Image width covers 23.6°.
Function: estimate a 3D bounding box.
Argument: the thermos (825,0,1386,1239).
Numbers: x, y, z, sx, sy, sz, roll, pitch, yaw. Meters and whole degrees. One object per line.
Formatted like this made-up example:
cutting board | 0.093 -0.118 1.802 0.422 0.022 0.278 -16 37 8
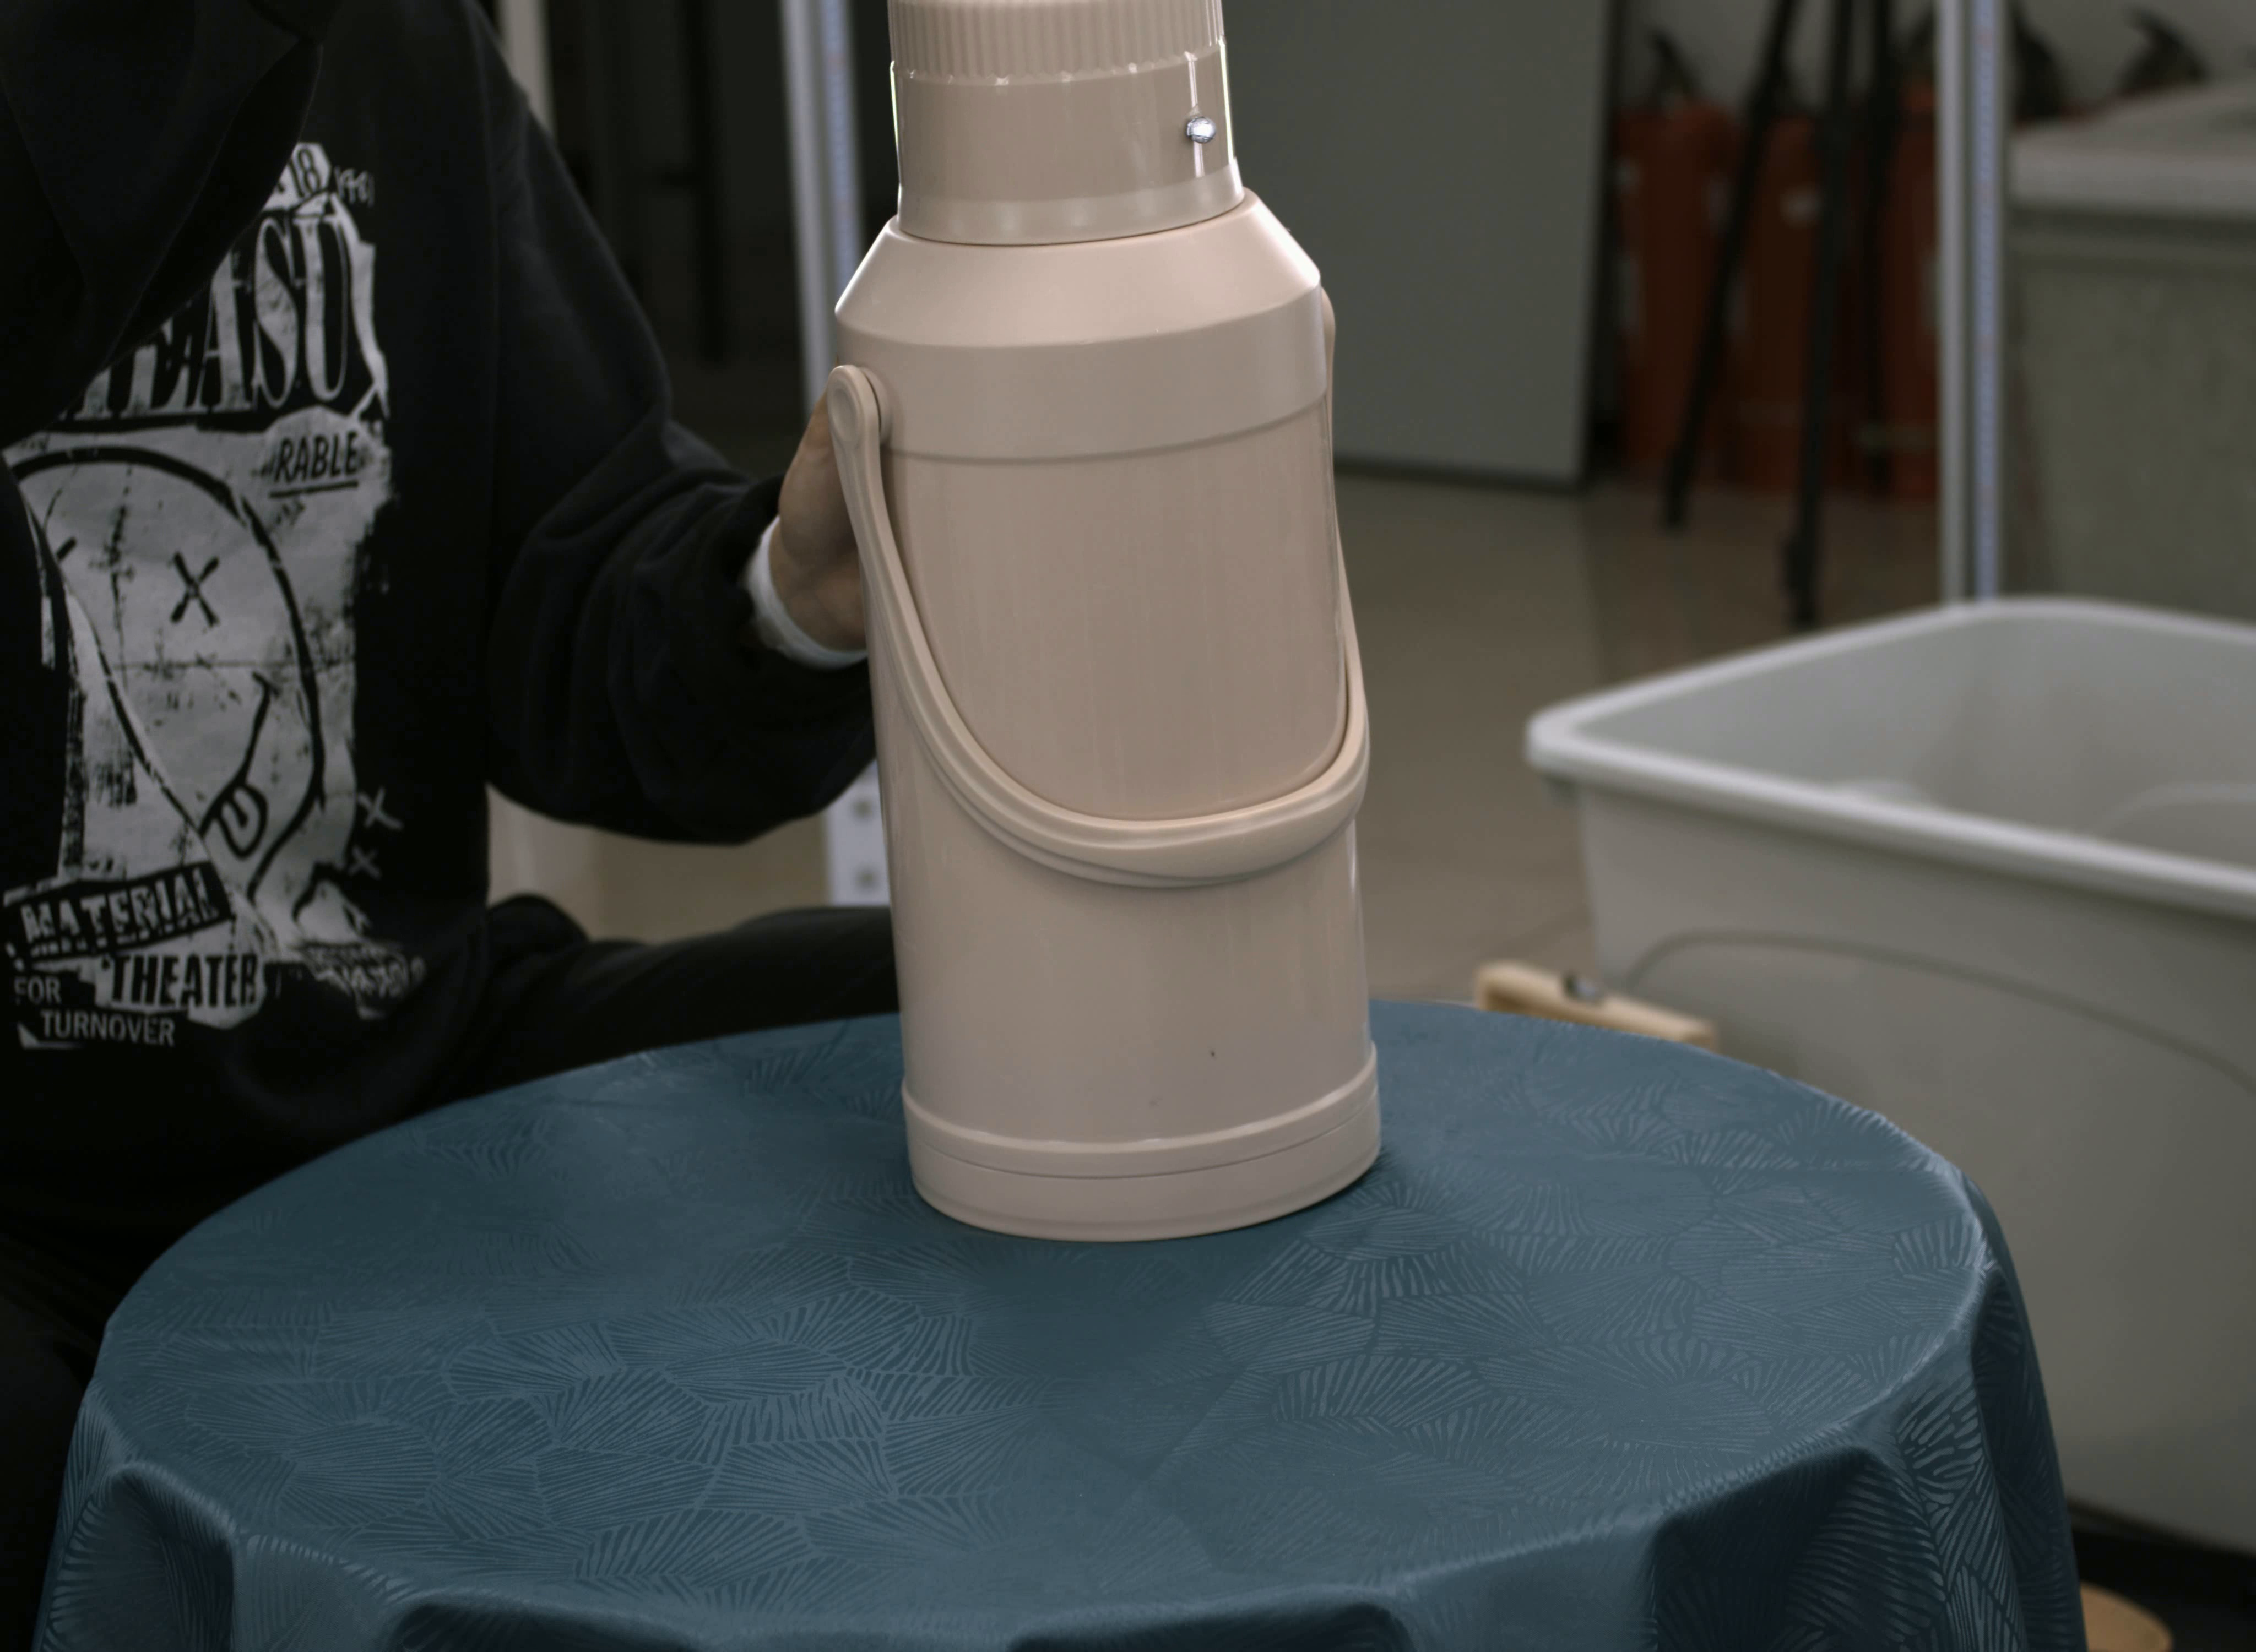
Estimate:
thermos | -0.015 -0.084 1.760 0.171 0.410 0.209 -15 19 -27
